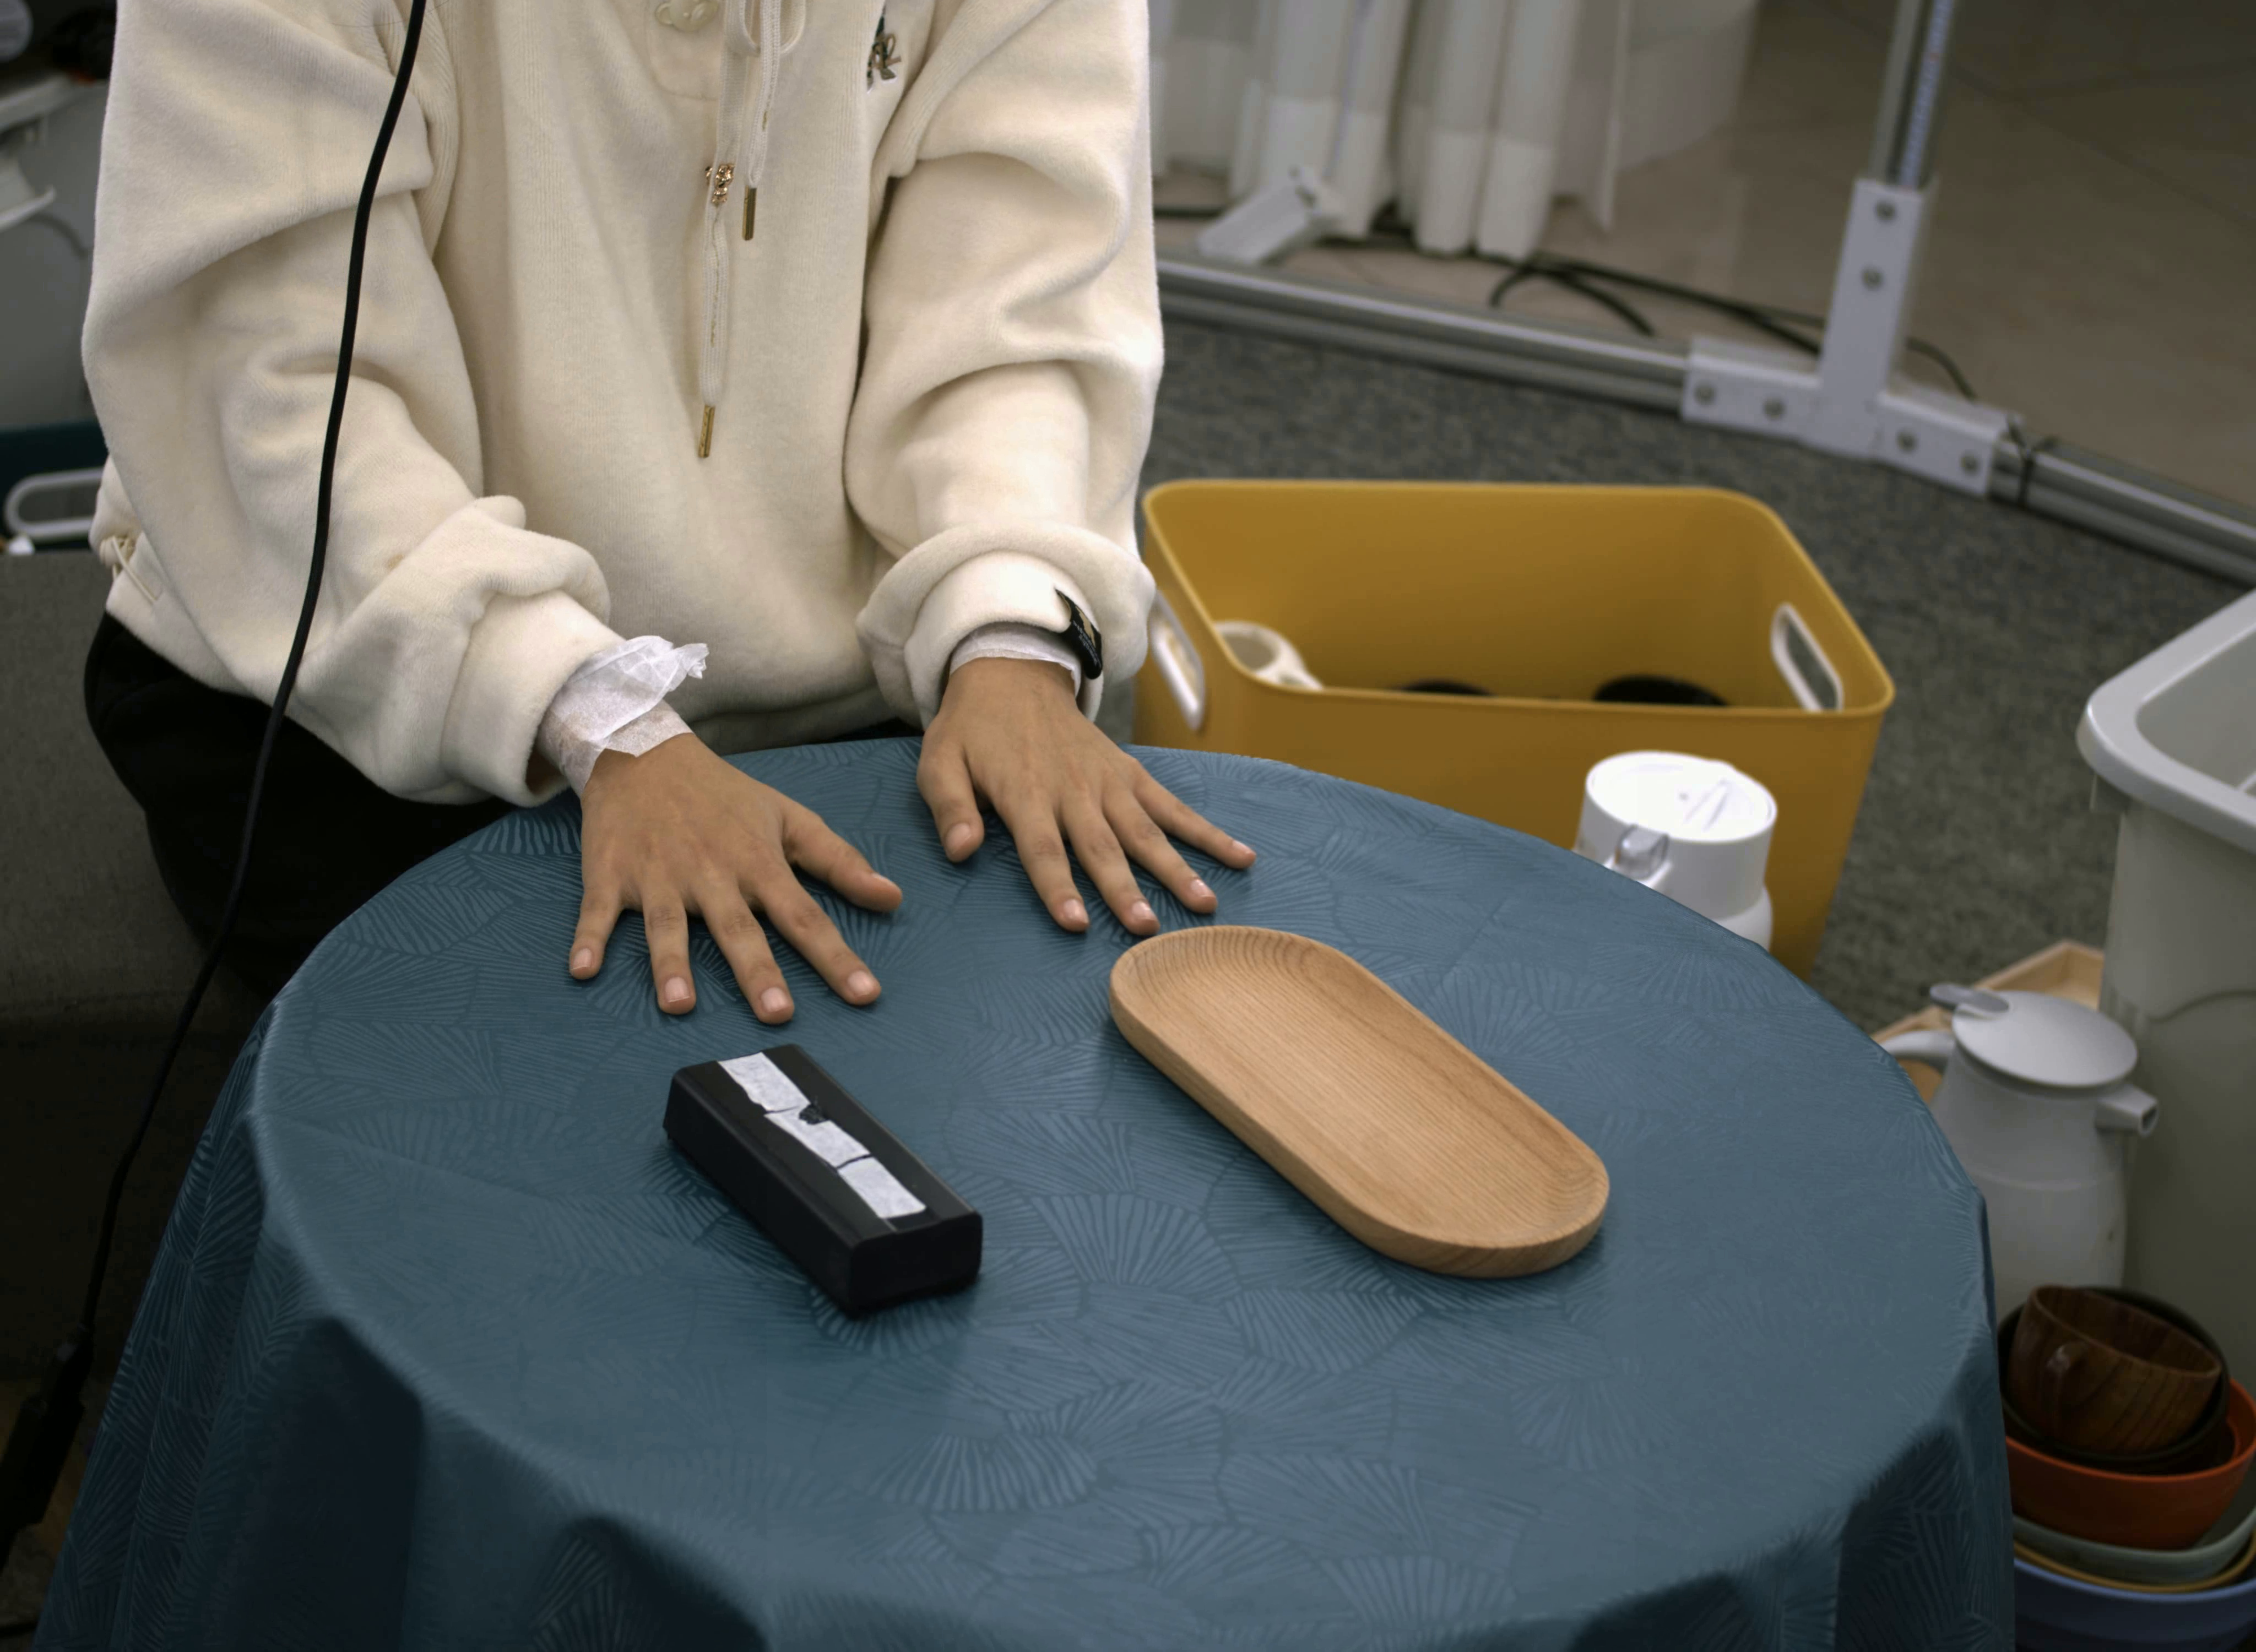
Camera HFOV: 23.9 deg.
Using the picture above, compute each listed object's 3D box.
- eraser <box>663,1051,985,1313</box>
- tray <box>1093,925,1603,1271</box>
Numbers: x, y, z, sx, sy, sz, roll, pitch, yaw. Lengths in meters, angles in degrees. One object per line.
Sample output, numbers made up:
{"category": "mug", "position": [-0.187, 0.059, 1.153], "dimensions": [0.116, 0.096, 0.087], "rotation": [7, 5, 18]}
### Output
{"category": "eraser", "position": [-0.101, 0.117, 1.761], "dimensions": [0.053, 0.030, 0.126], "rotation": [-6, 30, -34]}
{"category": "tray", "position": [0.074, 0.093, 1.861], "dimensions": [0.101, 0.020, 0.233], "rotation": [-12, 30, -33]}
